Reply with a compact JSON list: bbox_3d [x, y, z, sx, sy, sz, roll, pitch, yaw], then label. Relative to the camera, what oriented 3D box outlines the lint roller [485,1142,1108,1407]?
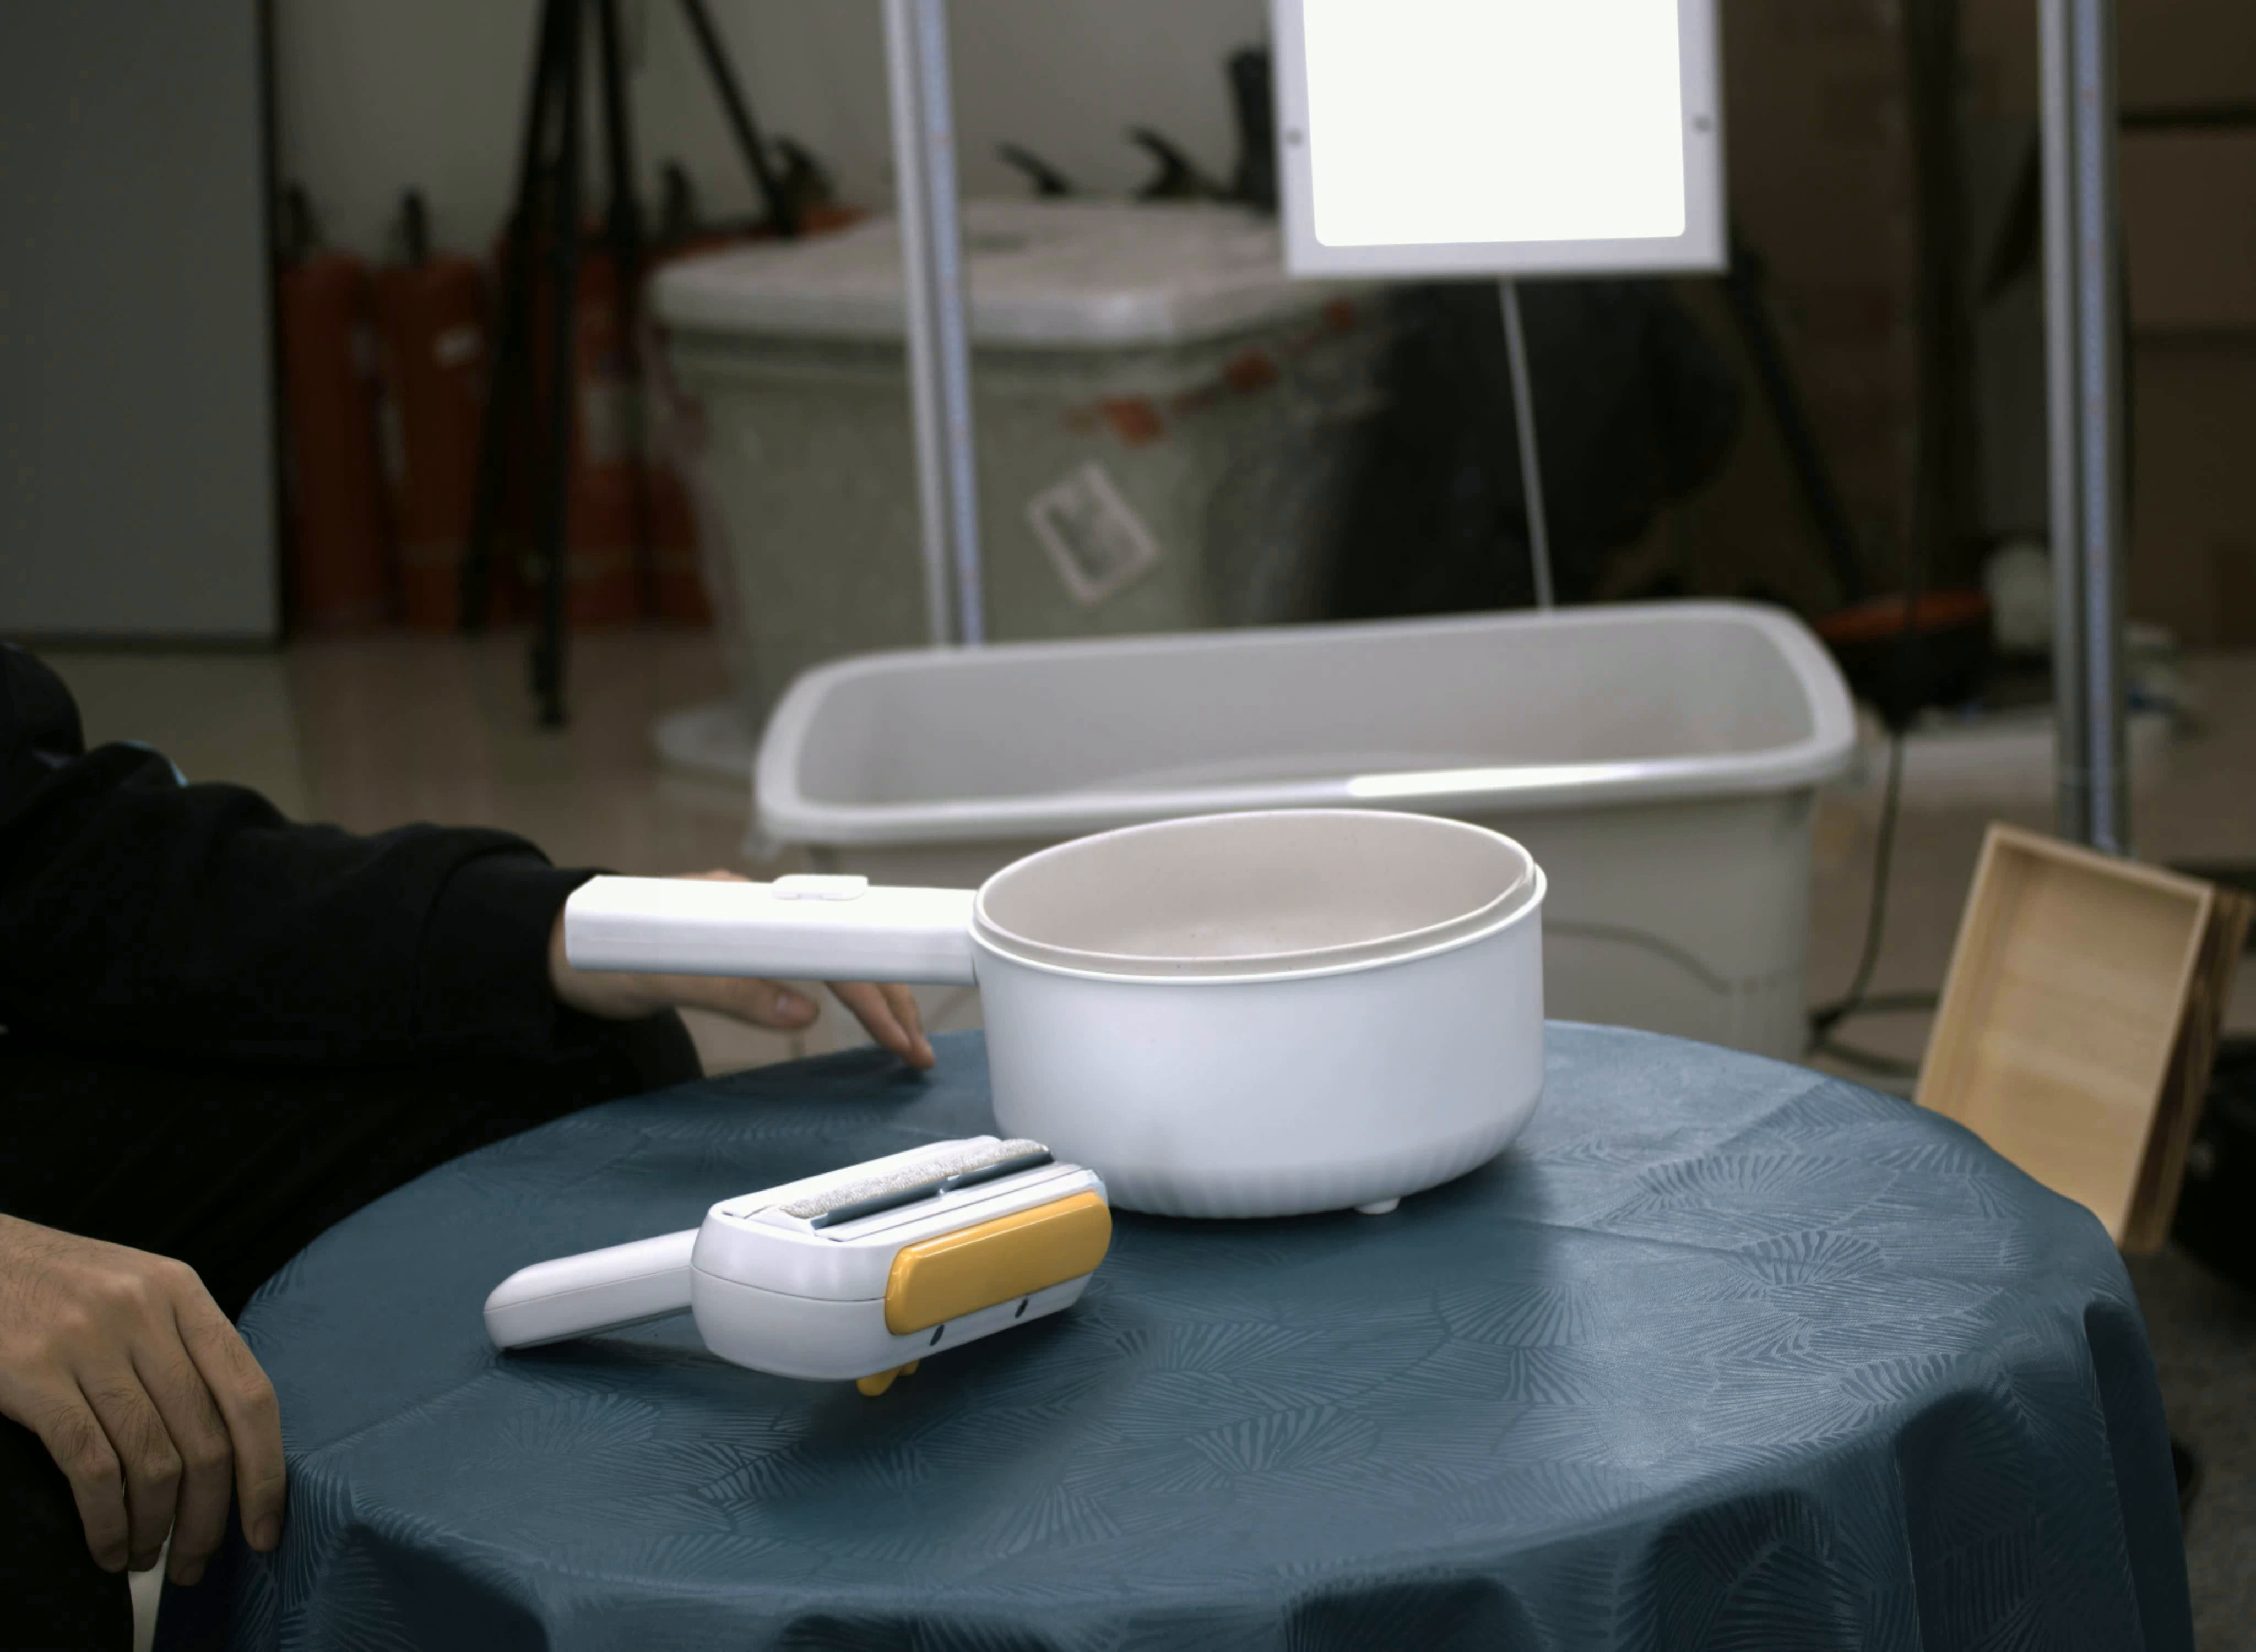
[{"bbox_3d":[-0.123,0.140,1.744,0.196,0.074,0.188,2,10,31],"label":"lint roller"}]

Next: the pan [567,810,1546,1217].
[{"bbox_3d":[-0.026,0.067,1.932,0.359,0.102,0.198,0,15,20],"label":"pan"}]
